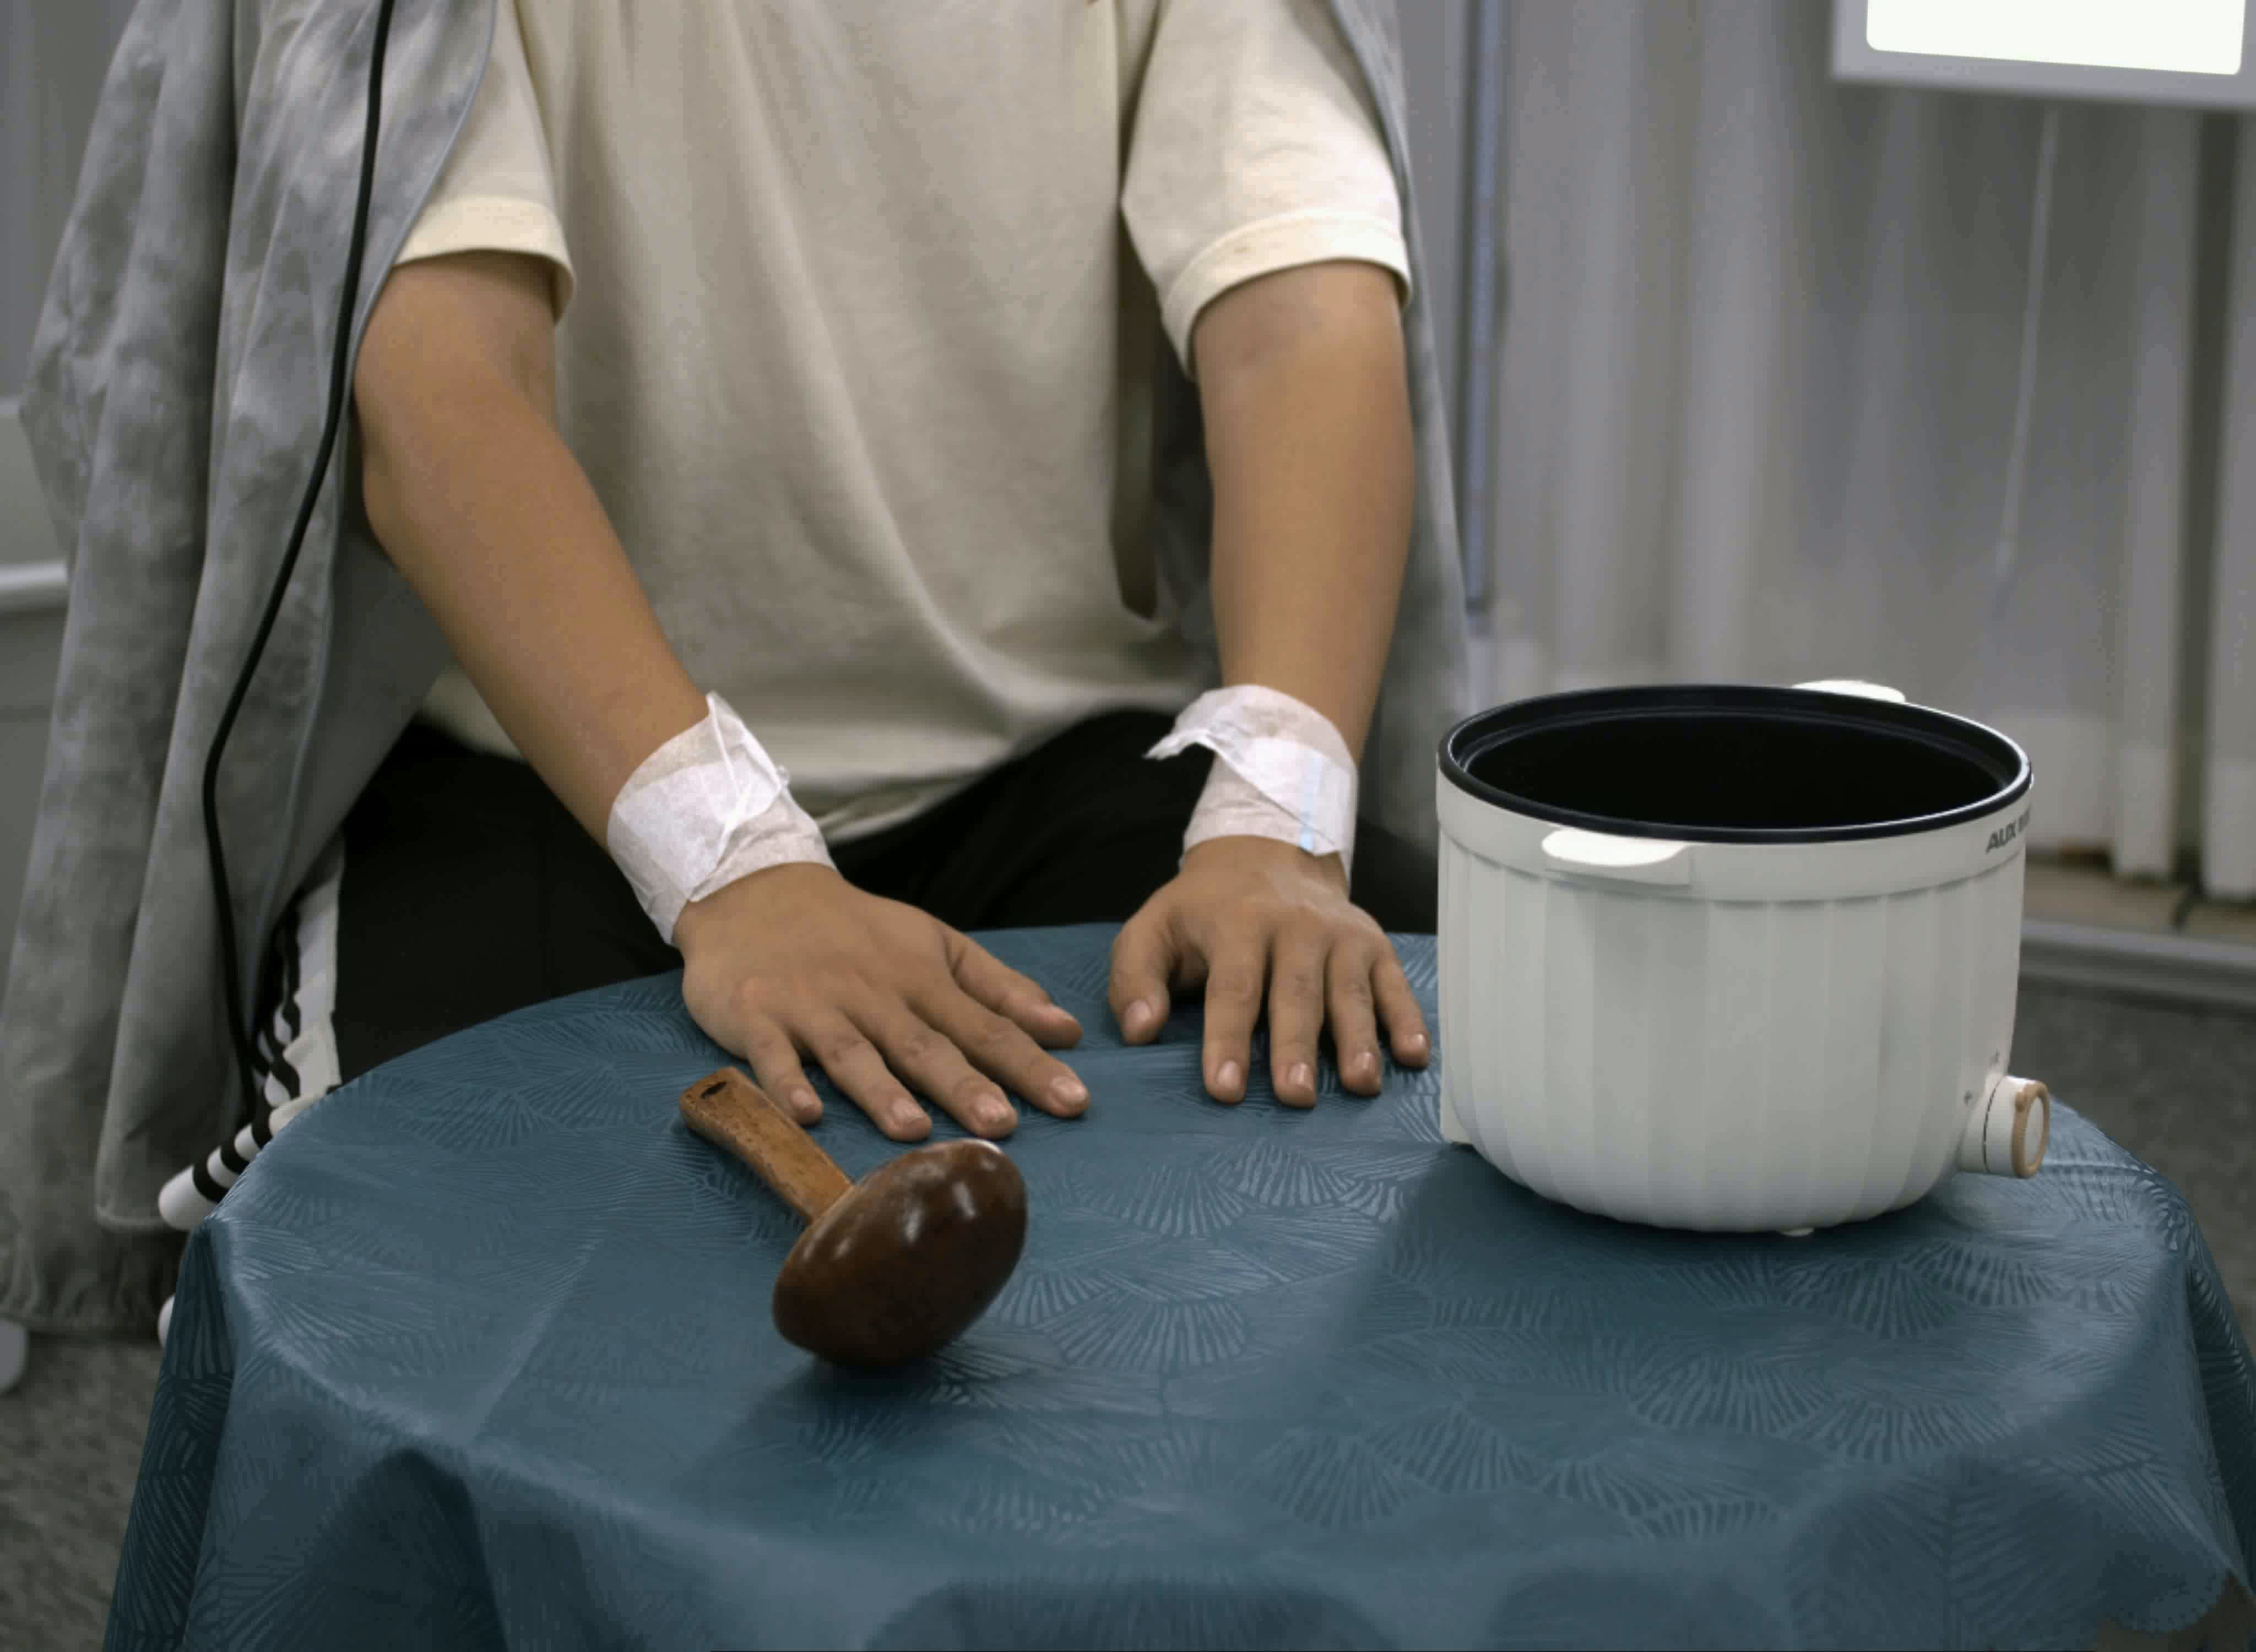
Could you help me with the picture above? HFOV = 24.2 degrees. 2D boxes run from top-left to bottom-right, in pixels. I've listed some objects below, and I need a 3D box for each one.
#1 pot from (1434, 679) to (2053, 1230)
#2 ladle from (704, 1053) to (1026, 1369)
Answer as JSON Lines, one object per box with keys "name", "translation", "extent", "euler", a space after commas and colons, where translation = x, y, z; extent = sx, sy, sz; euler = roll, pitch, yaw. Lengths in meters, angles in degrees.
{"name": "pot", "translation": [0.190, 0.041, 1.627], "extent": [0.188, 0.144, 0.241], "euler": [4, 17, 26]}
{"name": "ladle", "translation": [-0.098, 0.092, 1.554], "extent": [0.082, 0.077, 0.271], "euler": [-29, 24, -10]}
